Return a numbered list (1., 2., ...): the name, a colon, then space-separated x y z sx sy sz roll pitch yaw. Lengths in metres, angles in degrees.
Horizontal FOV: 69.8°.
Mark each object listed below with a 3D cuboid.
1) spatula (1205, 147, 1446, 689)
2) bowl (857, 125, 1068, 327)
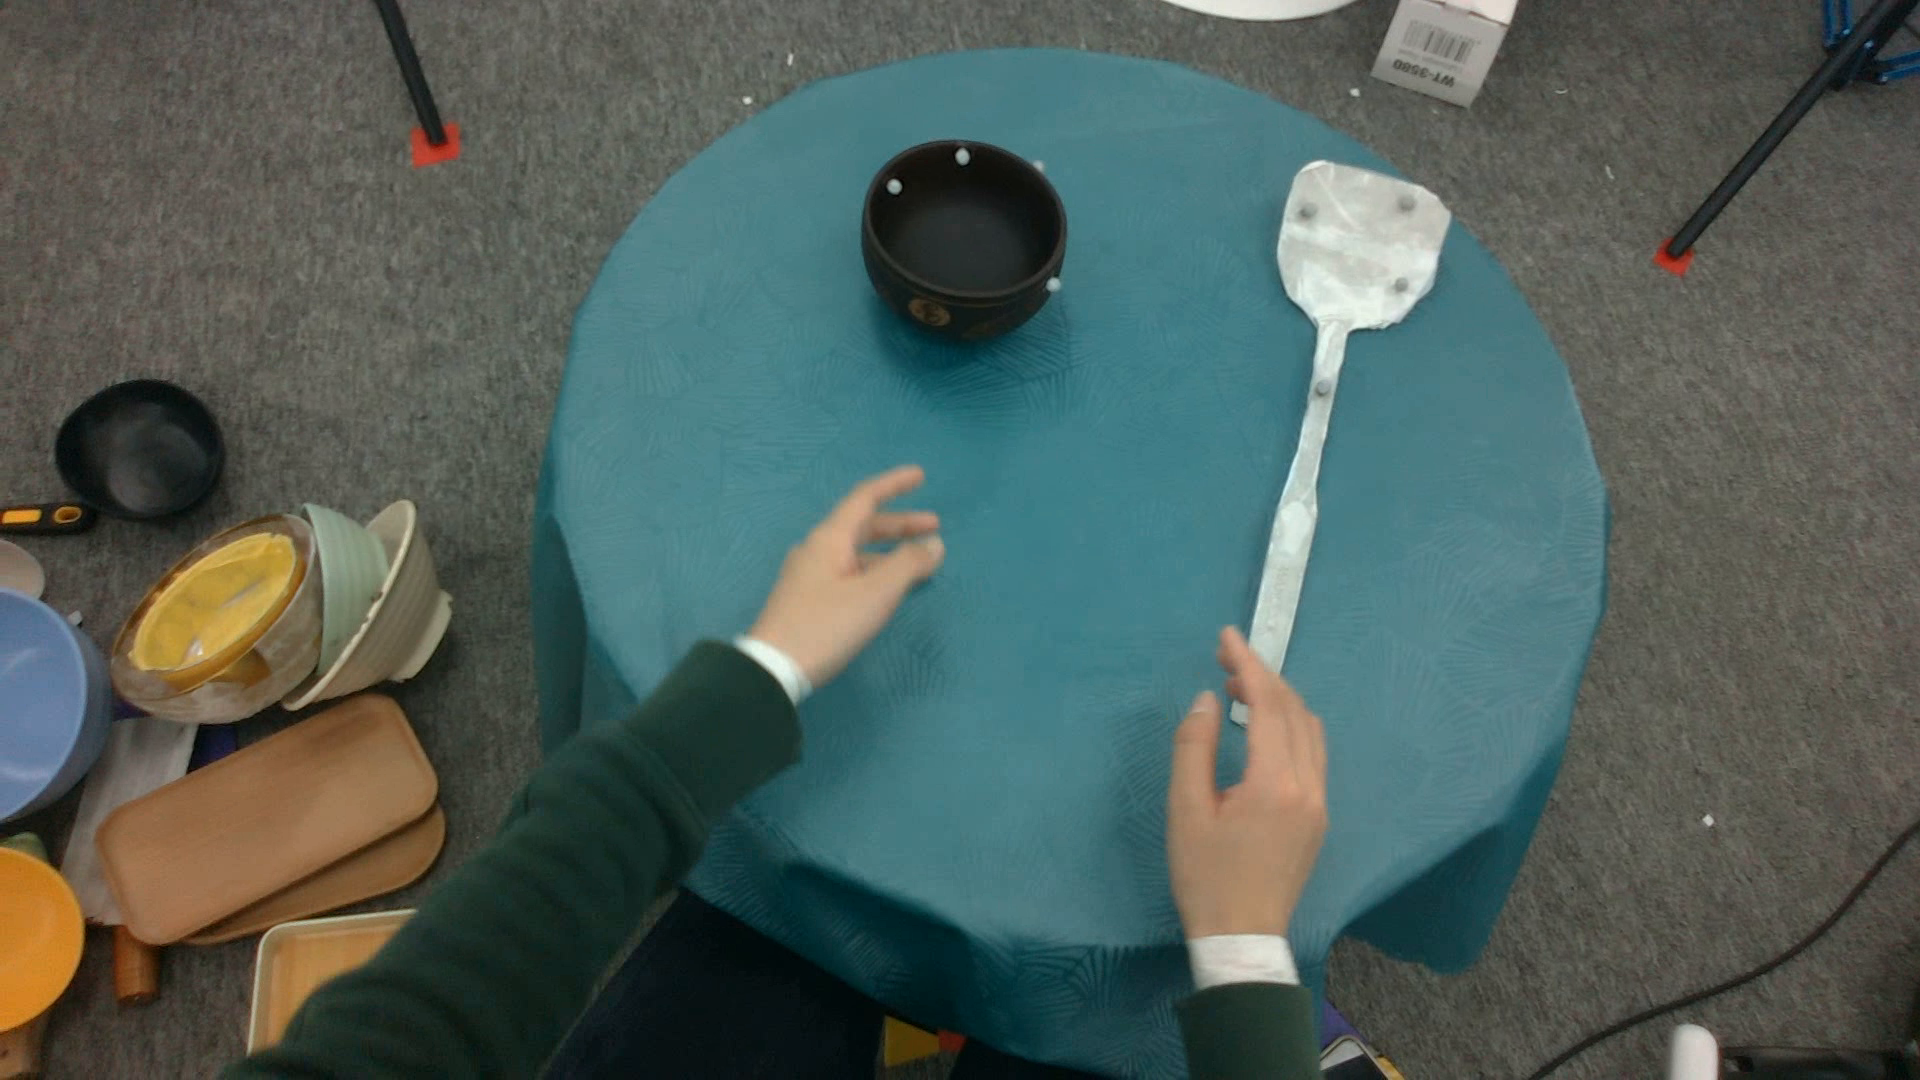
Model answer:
1. spatula: 0.198 -0.077 0.782 0.099 0.044 0.366 20 61 2
2. bowl: 0.000 -0.172 0.791 0.118 0.069 0.118 2 62 -4
